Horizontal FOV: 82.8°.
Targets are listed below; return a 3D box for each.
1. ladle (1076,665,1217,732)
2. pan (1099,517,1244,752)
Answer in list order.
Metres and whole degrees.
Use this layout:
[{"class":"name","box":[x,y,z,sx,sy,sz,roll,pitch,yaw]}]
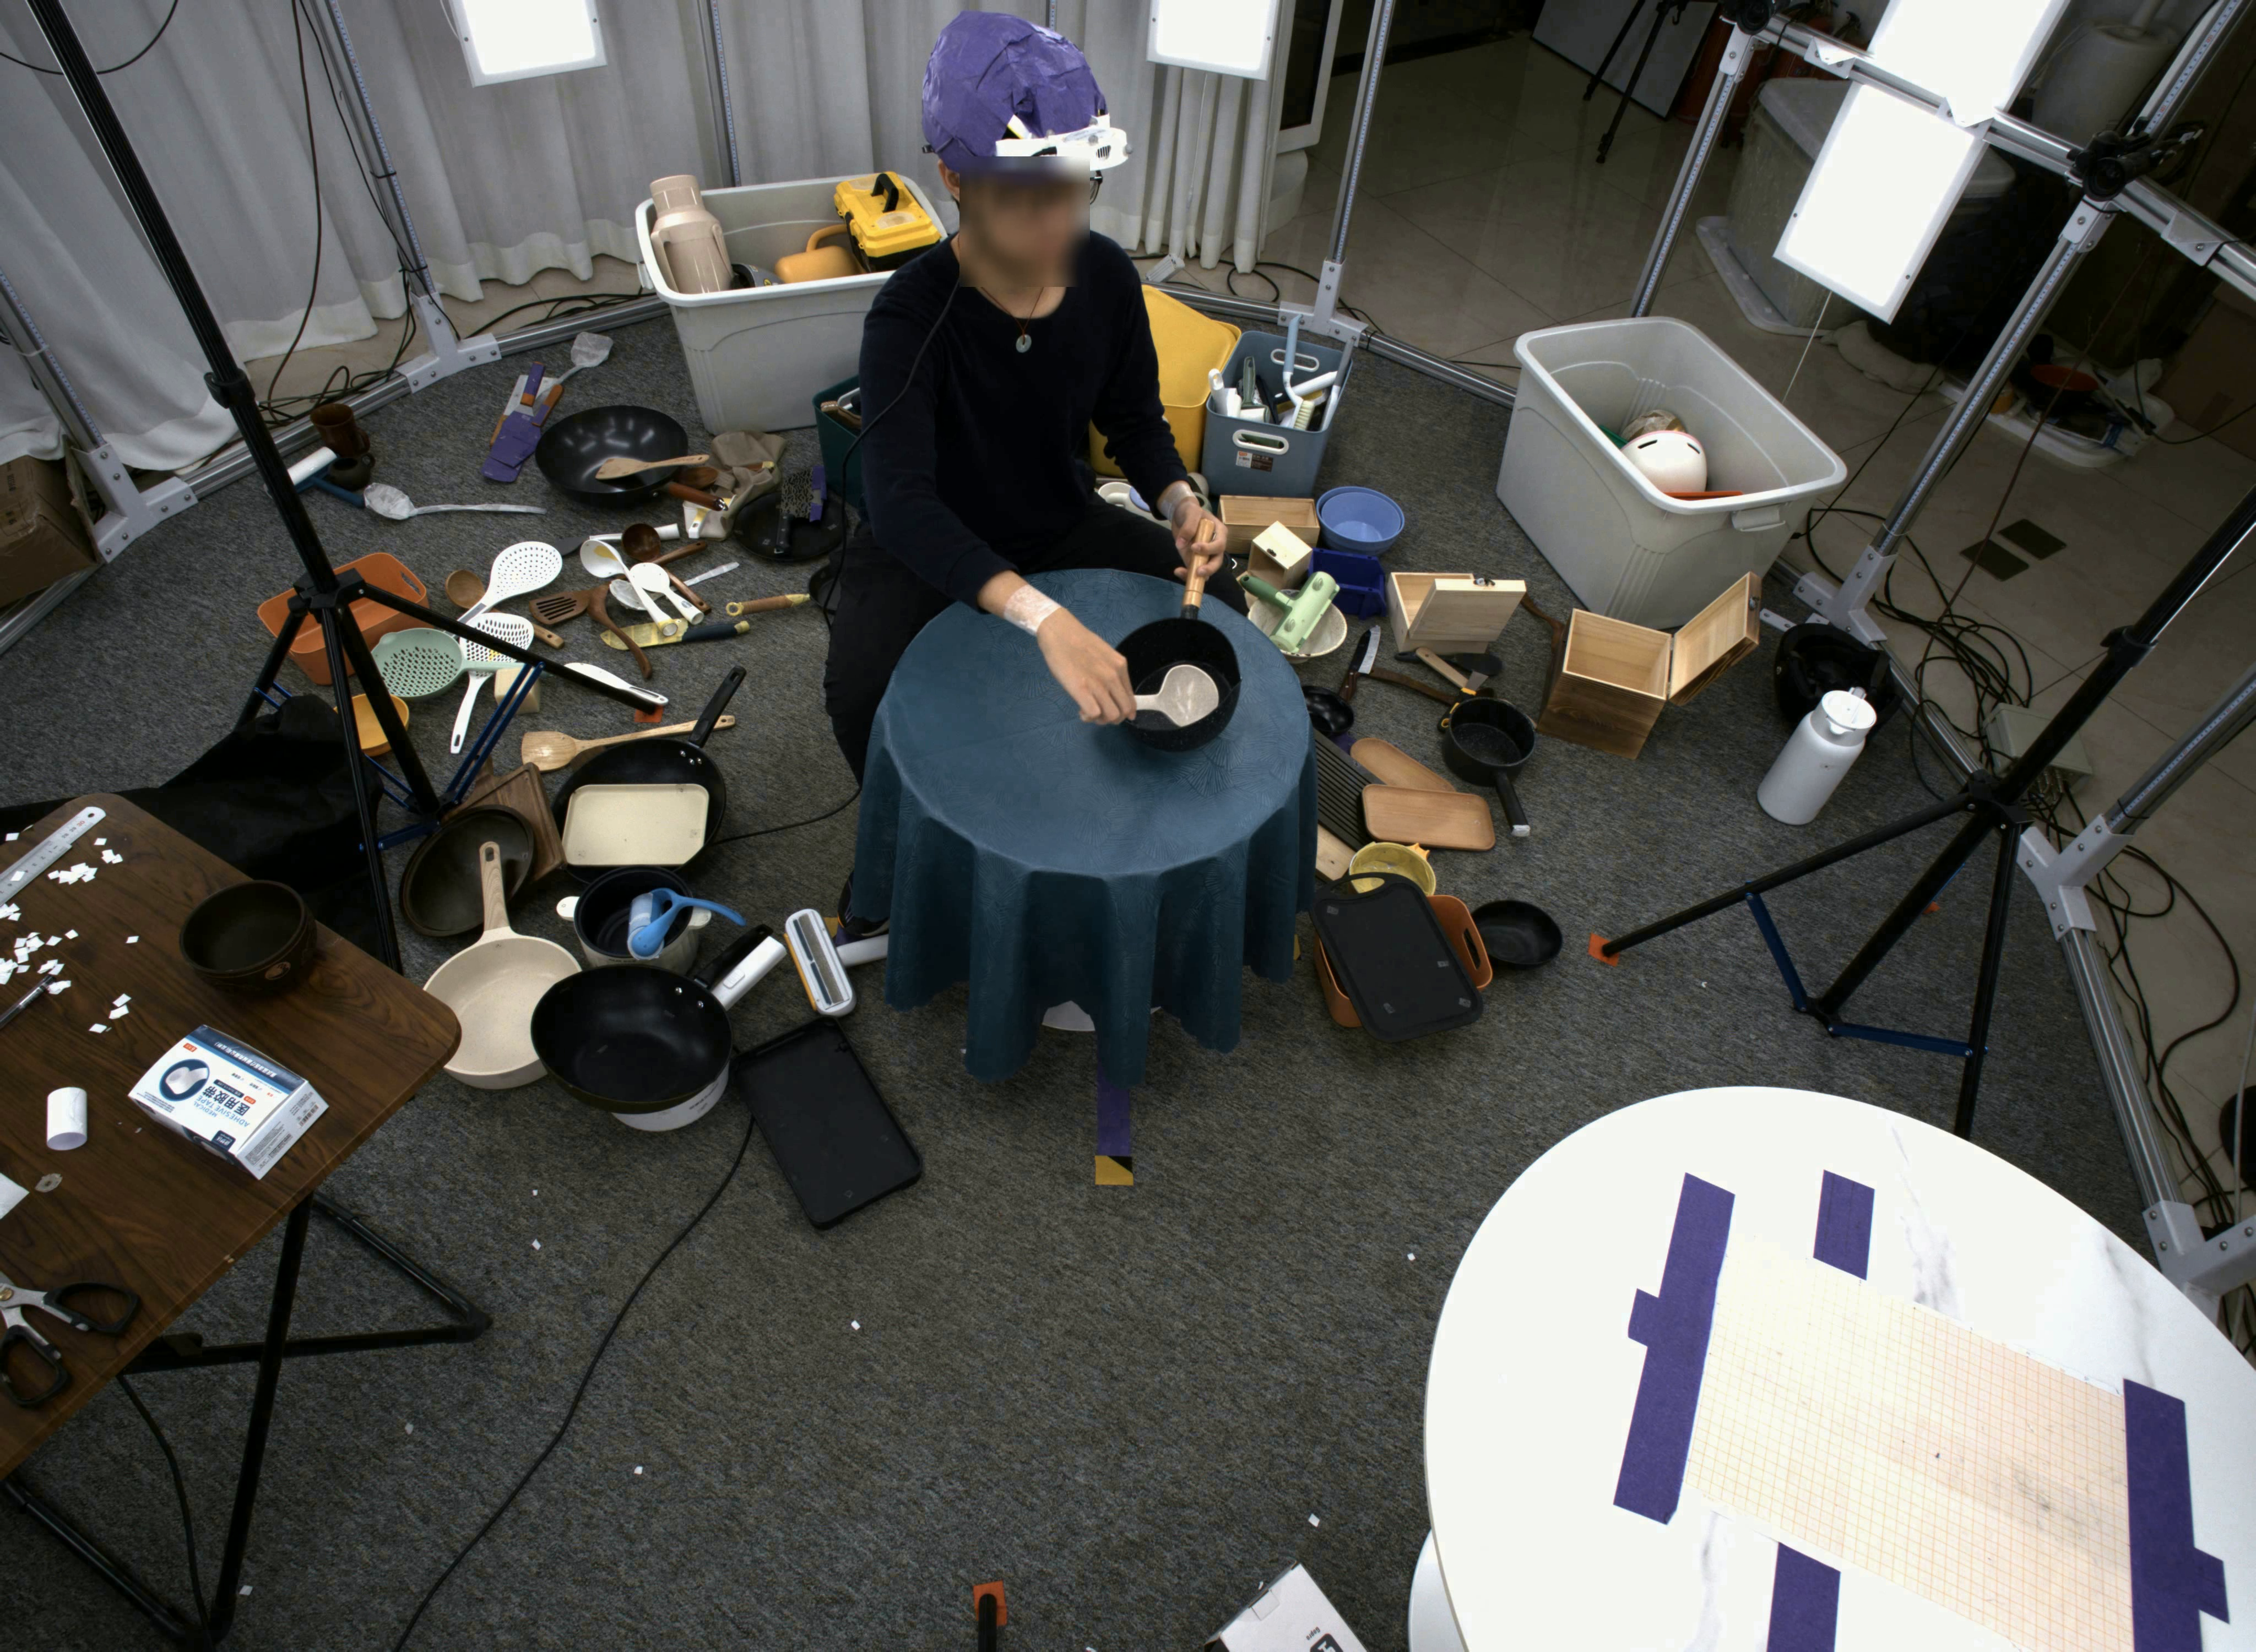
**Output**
[{"class":"ladle","box":[0.029,-0.157,1.594,0.069,0.089,0.275,-10,1,27]},{"class":"pan","box":[0.079,-0.262,1.780,0.208,0.106,0.349,4,63,19]}]
